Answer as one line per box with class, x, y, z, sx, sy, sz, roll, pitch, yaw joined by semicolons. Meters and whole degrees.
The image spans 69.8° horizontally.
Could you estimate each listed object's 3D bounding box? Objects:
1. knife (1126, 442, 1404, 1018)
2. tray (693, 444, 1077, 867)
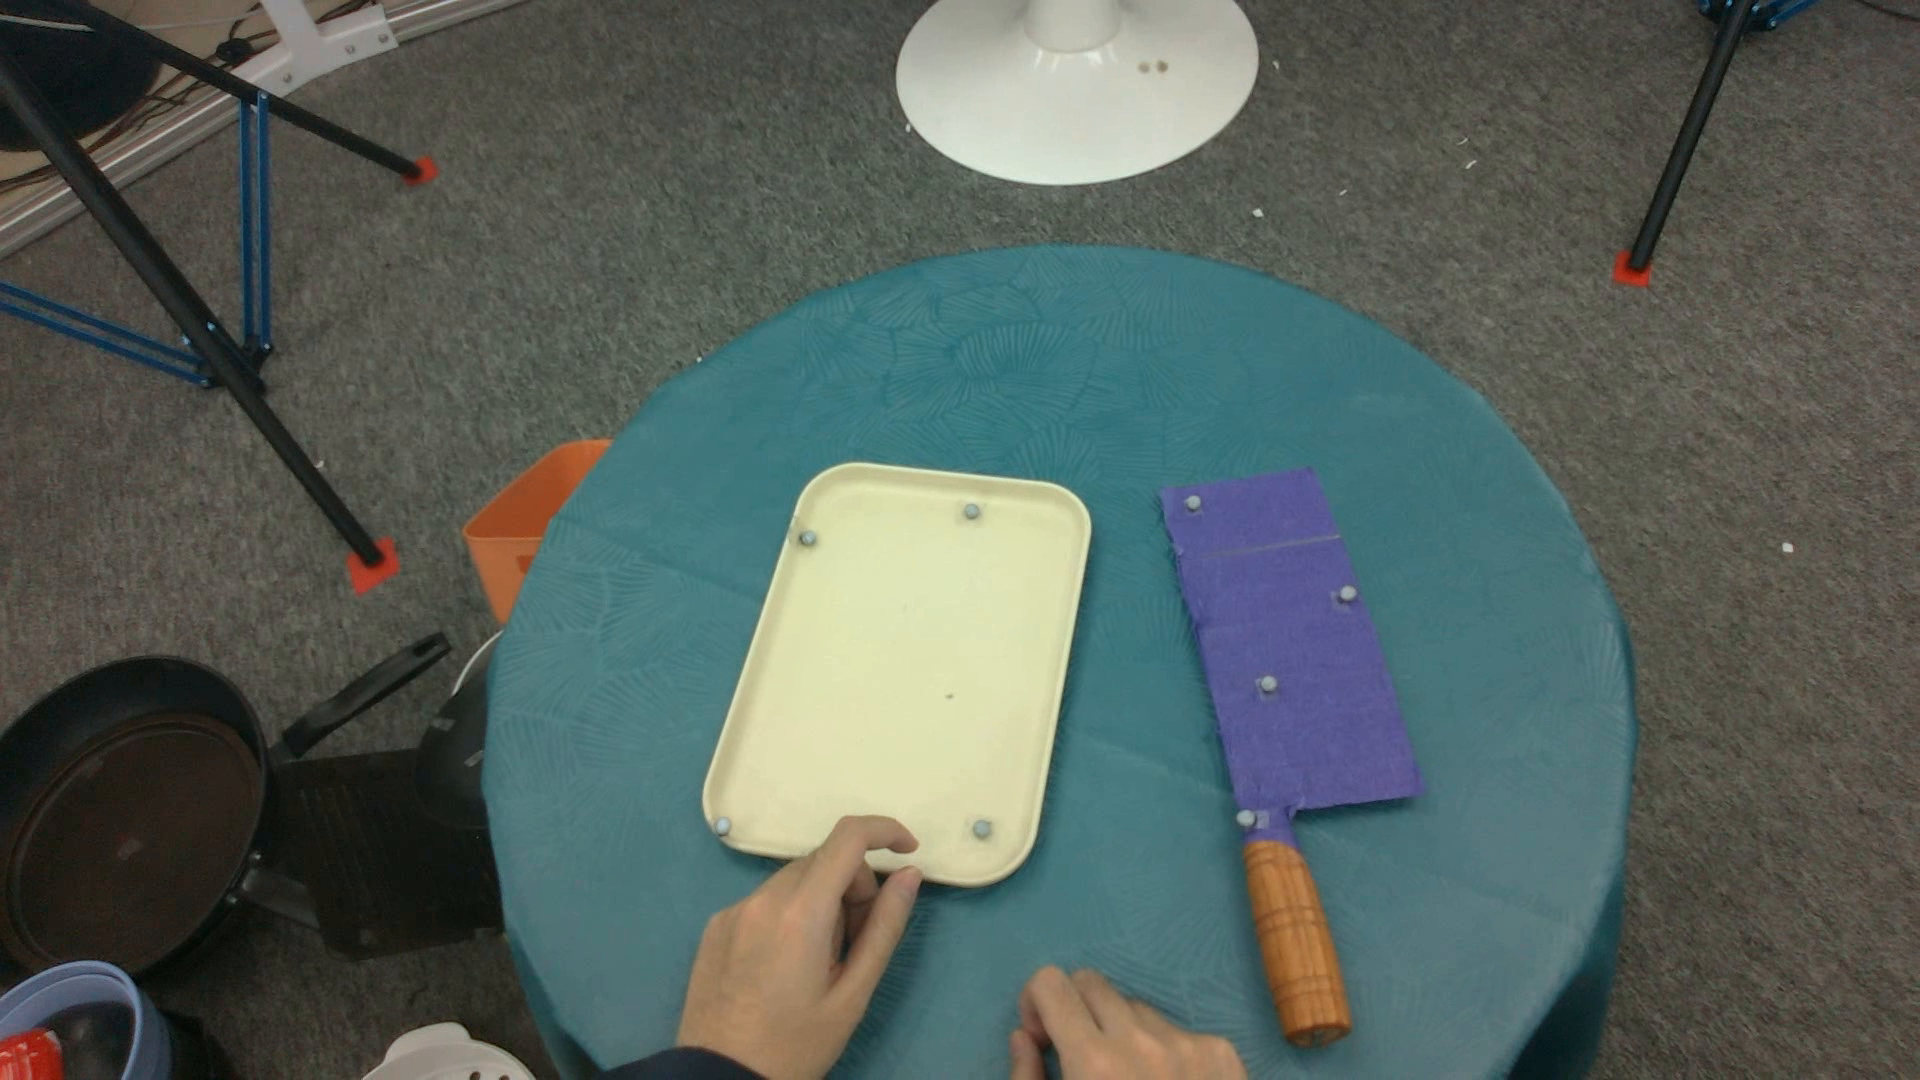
knife;0.165;0.072;0.690;0.104;0.032;0.316;-9;55;0
tray;-0.034;0.053;0.729;0.171;0.017;0.241;7;57;9
